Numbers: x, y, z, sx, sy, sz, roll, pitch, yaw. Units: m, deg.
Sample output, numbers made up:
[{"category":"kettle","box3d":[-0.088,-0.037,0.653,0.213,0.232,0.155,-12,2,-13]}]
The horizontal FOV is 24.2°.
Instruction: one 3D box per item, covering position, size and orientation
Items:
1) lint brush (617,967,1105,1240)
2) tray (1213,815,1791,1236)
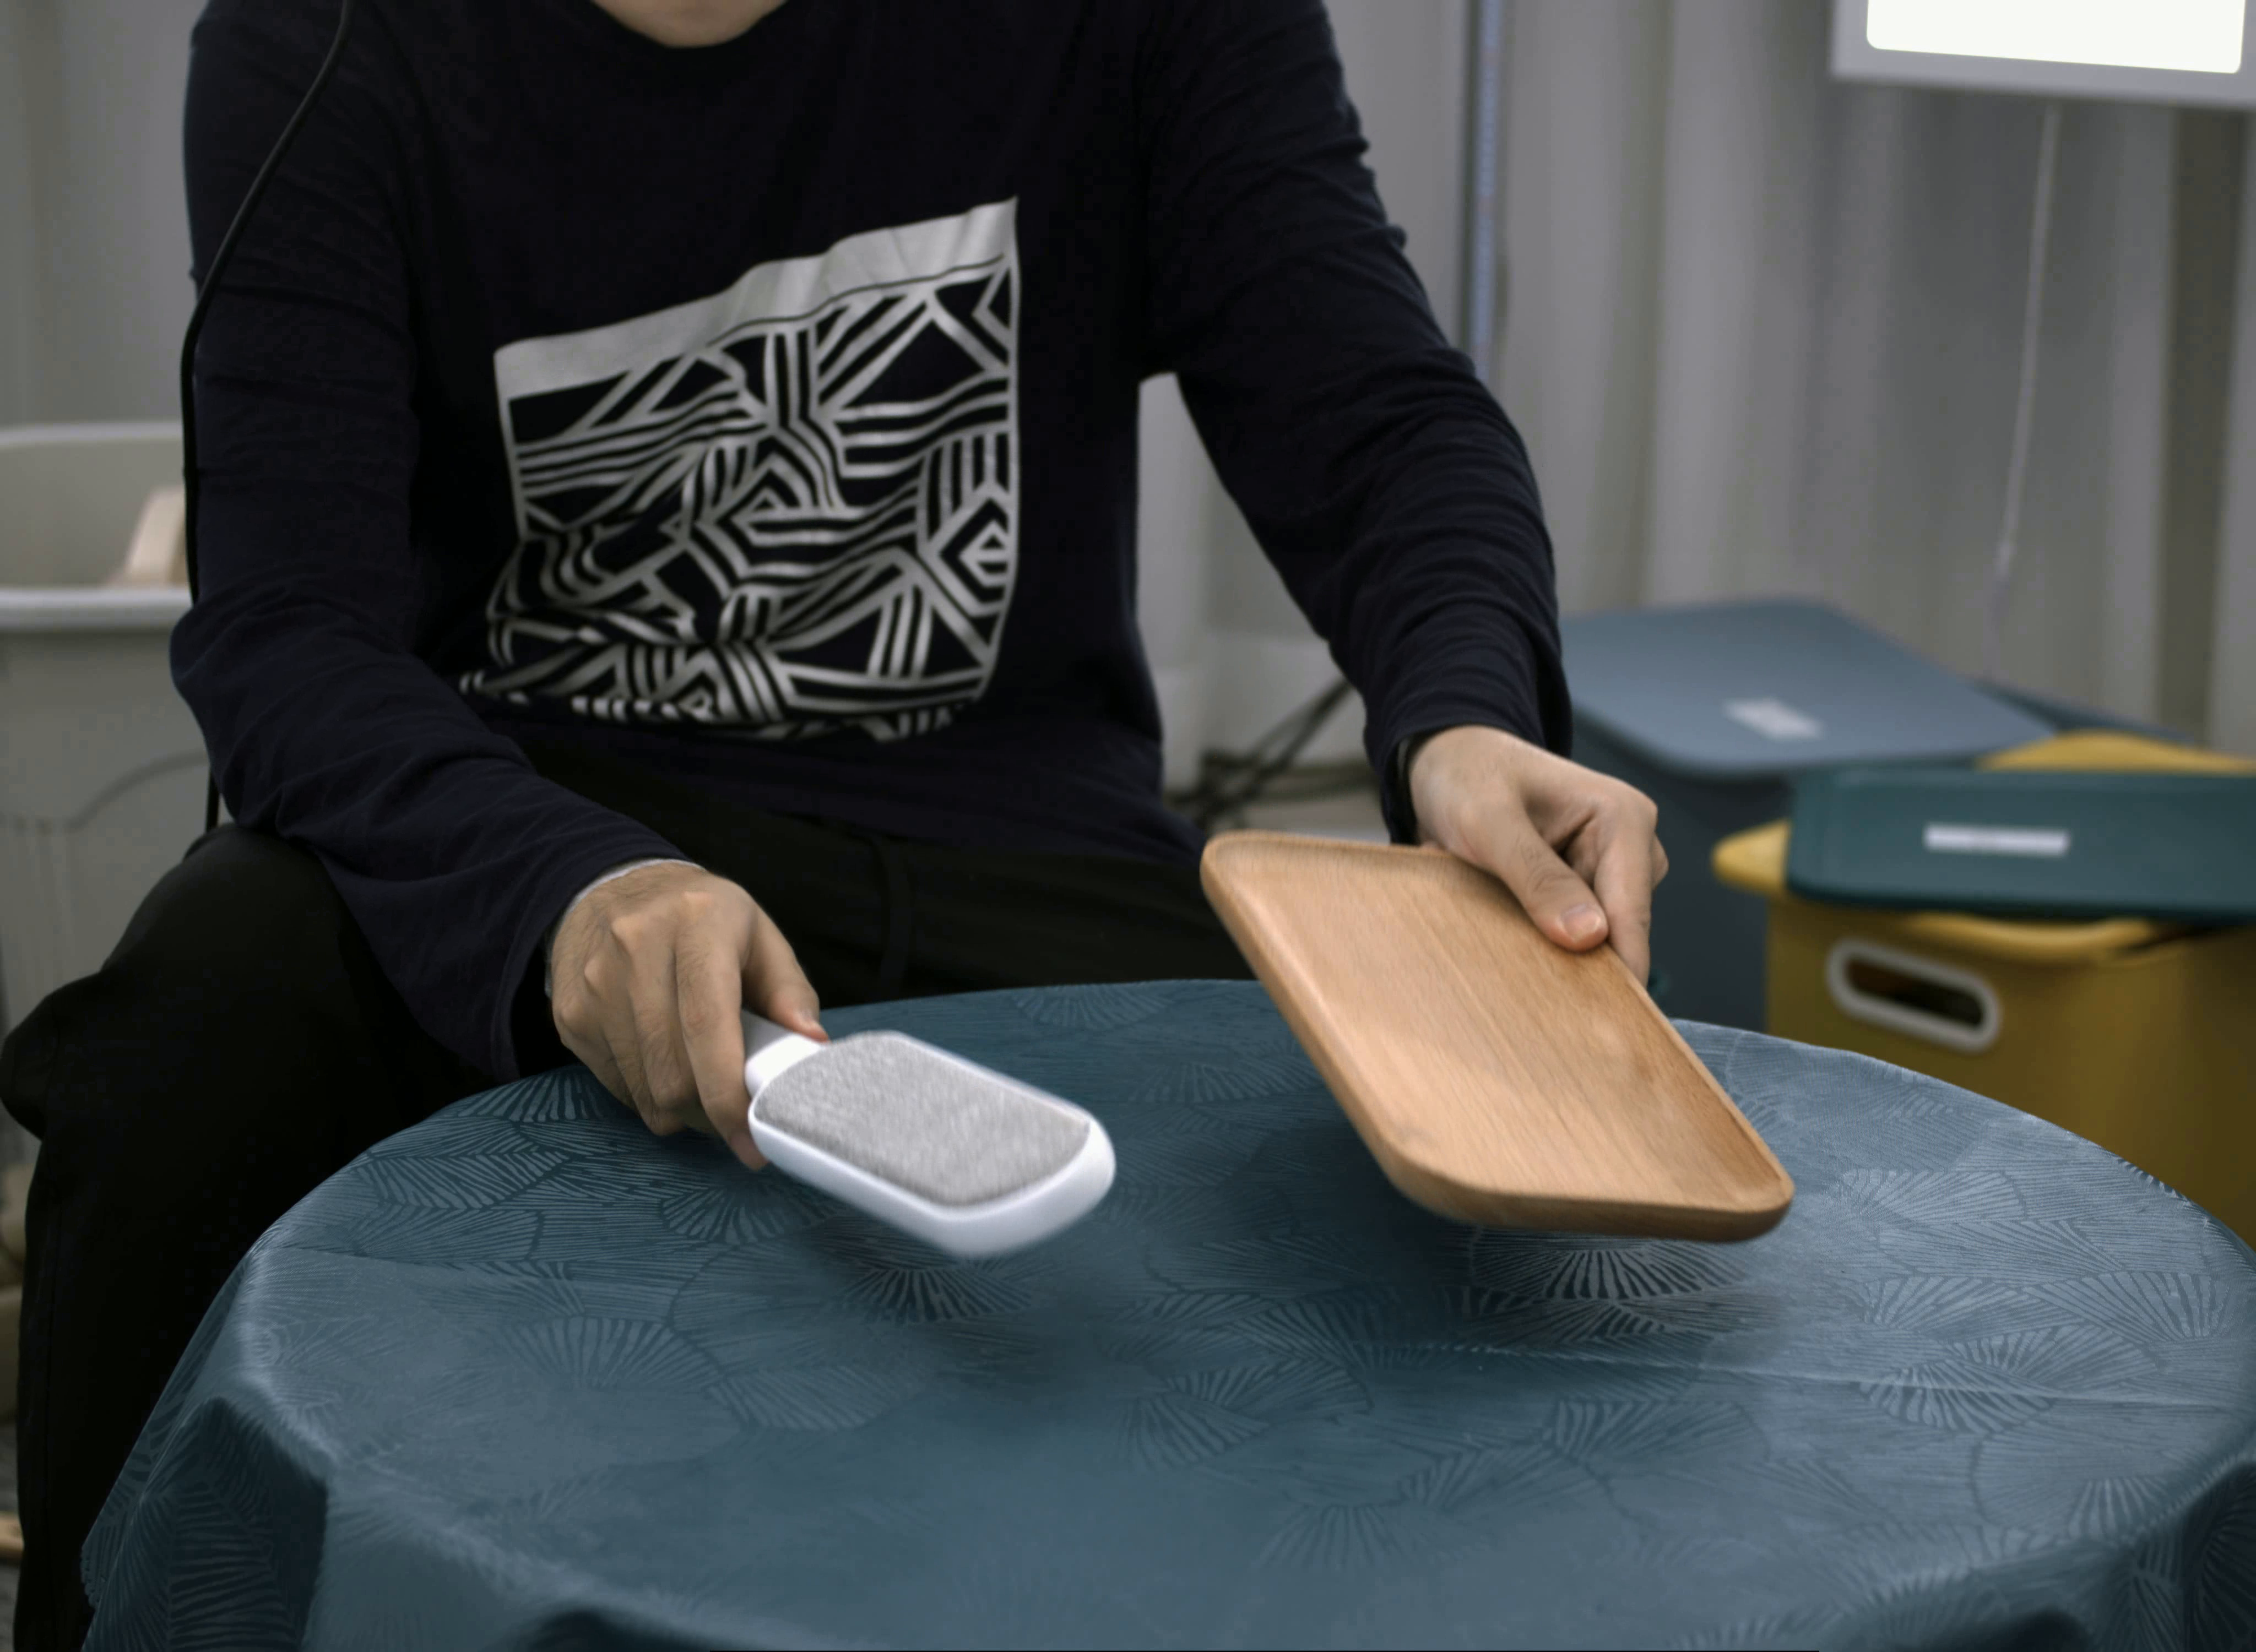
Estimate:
[{"category":"lint brush","box3d":[-0.088,0.076,1.578,0.060,0.021,0.305,-37,22,-18]},{"category":"tray","box3d":[0.108,0.058,1.597,0.131,0.023,0.248,10,21,-17]}]
